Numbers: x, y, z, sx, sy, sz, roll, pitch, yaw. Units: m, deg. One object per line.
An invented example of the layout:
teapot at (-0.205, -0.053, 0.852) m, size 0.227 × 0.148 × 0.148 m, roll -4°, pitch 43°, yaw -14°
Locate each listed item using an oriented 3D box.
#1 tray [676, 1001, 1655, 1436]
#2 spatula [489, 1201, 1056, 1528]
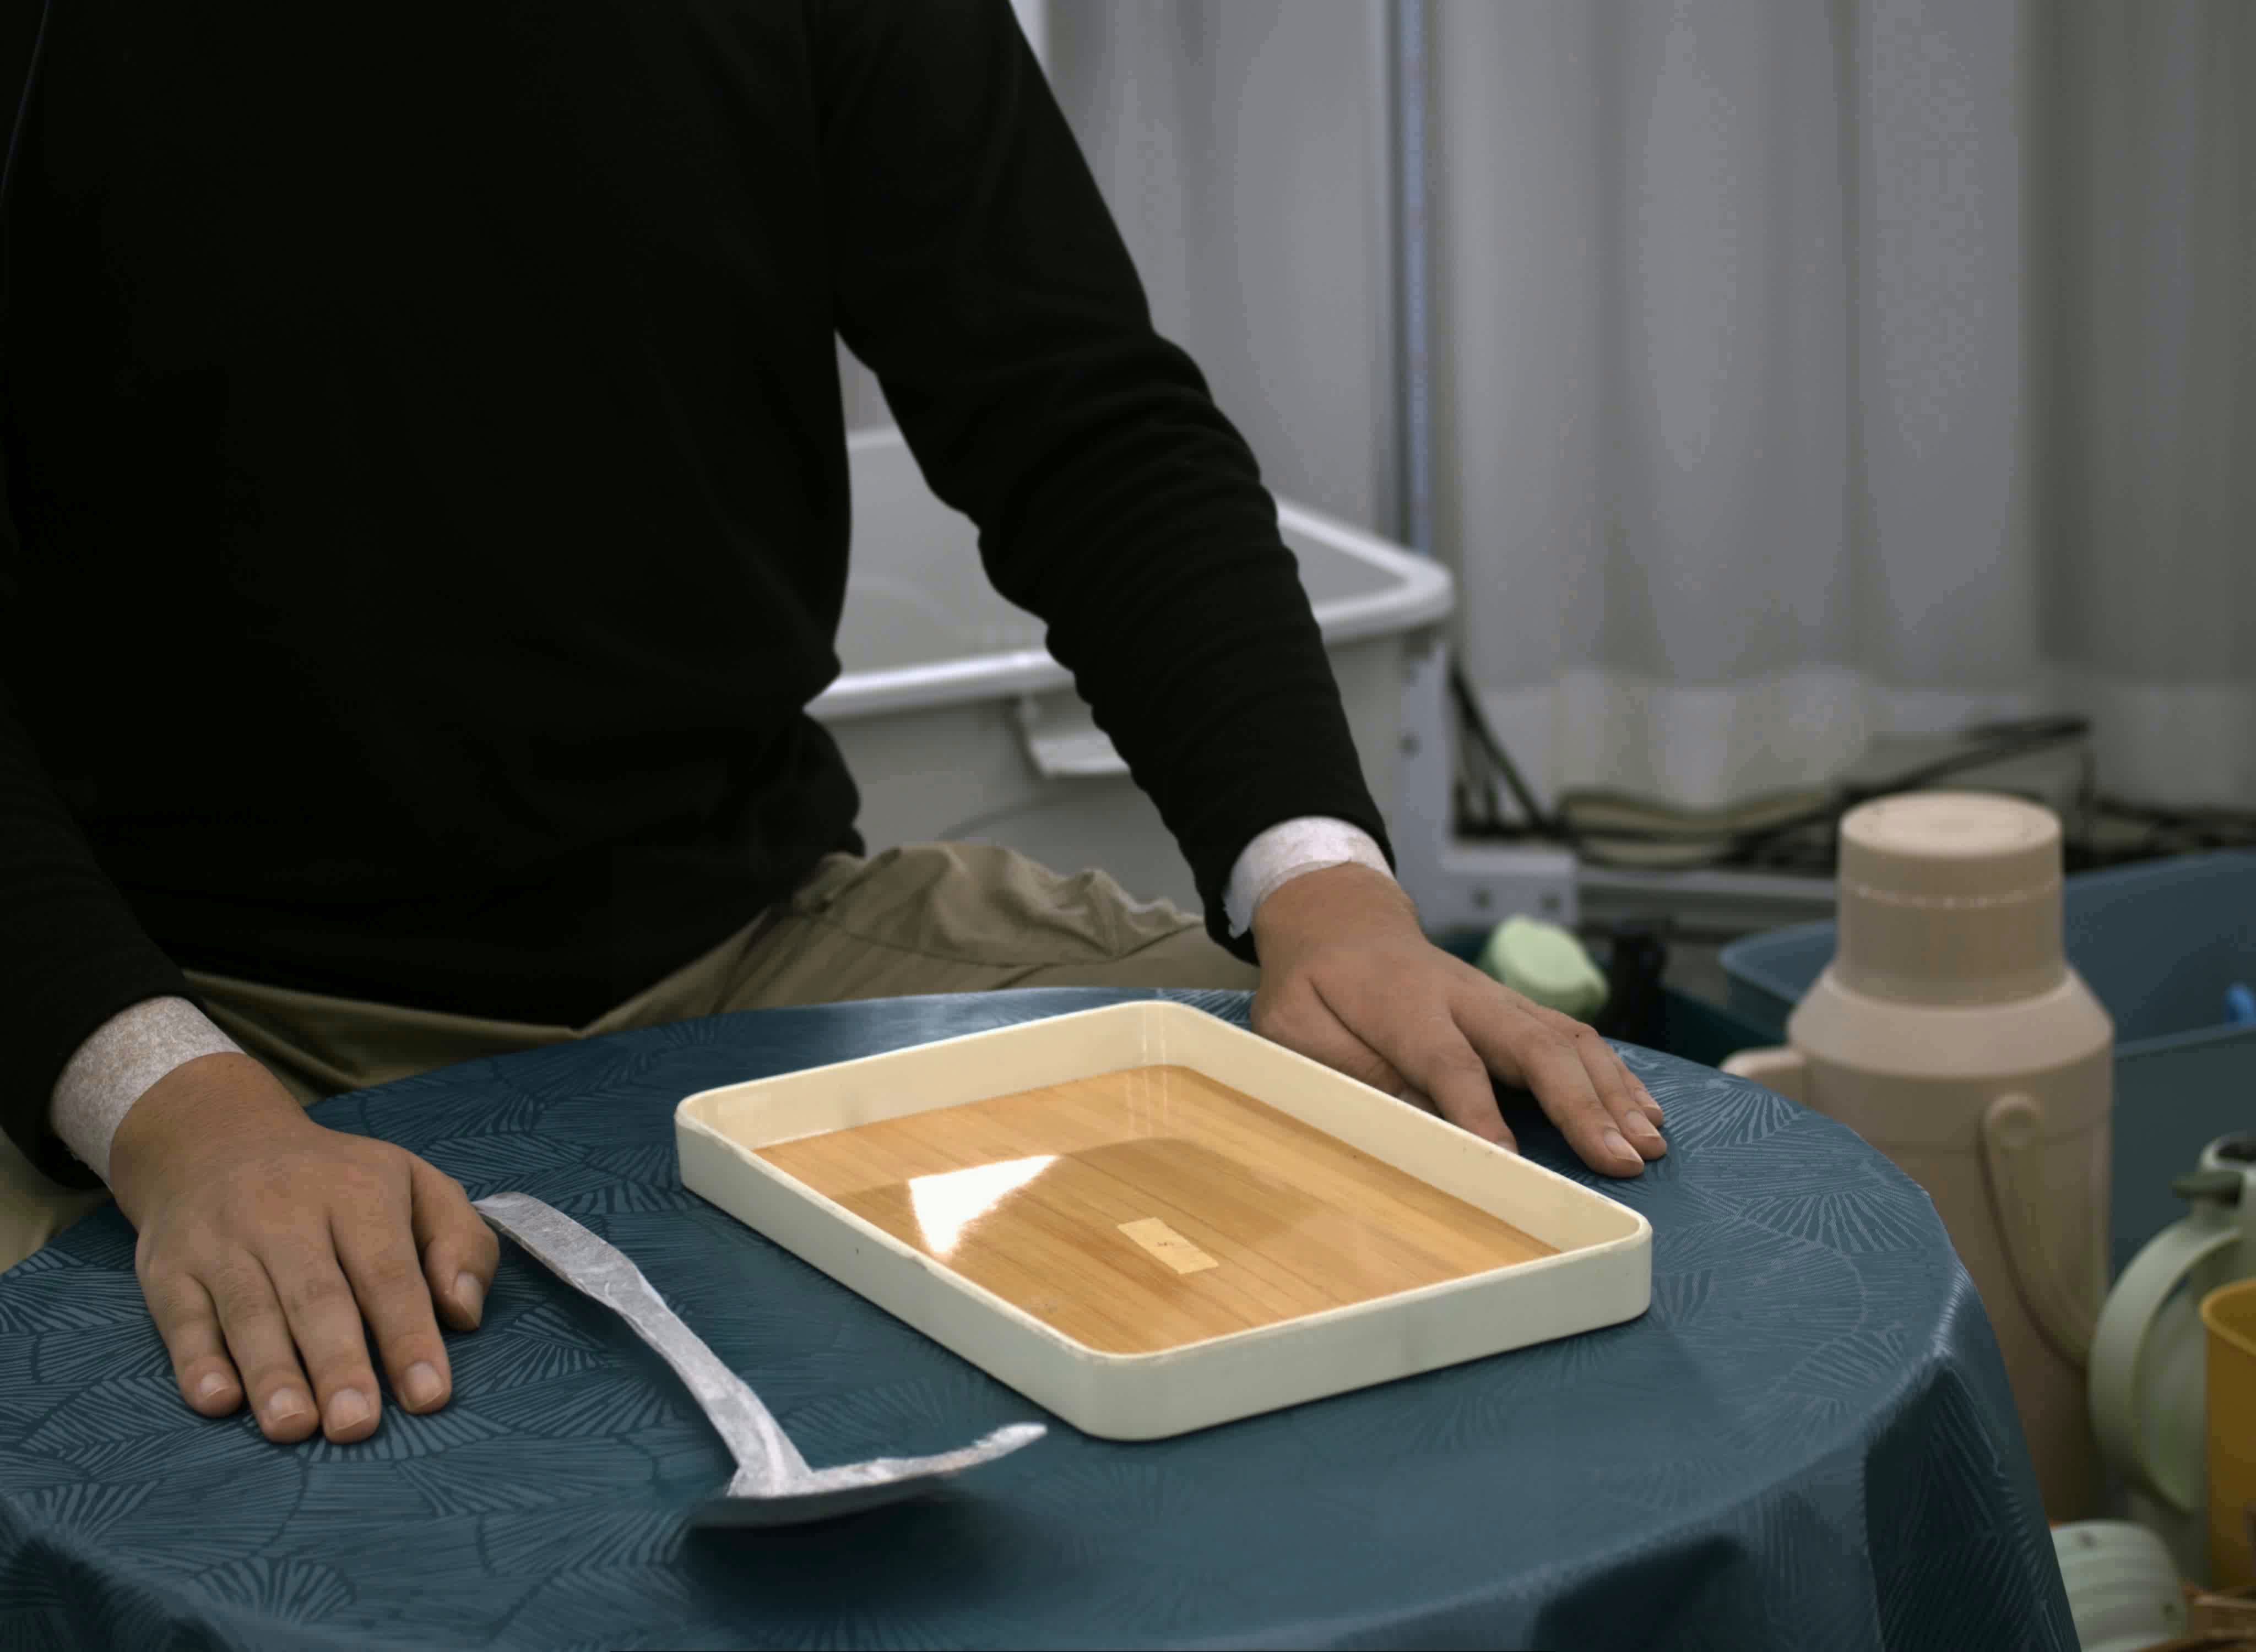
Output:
tray at (0.005, 0.114, 1.662) m, size 0.191 × 0.027 × 0.302 m, roll -11°, pitch 17°, yaw -27°
spatula at (-0.127, 0.143, 1.556) m, size 0.098 × 0.044 × 0.368 m, roll -10°, pitch 16°, yaw -22°
